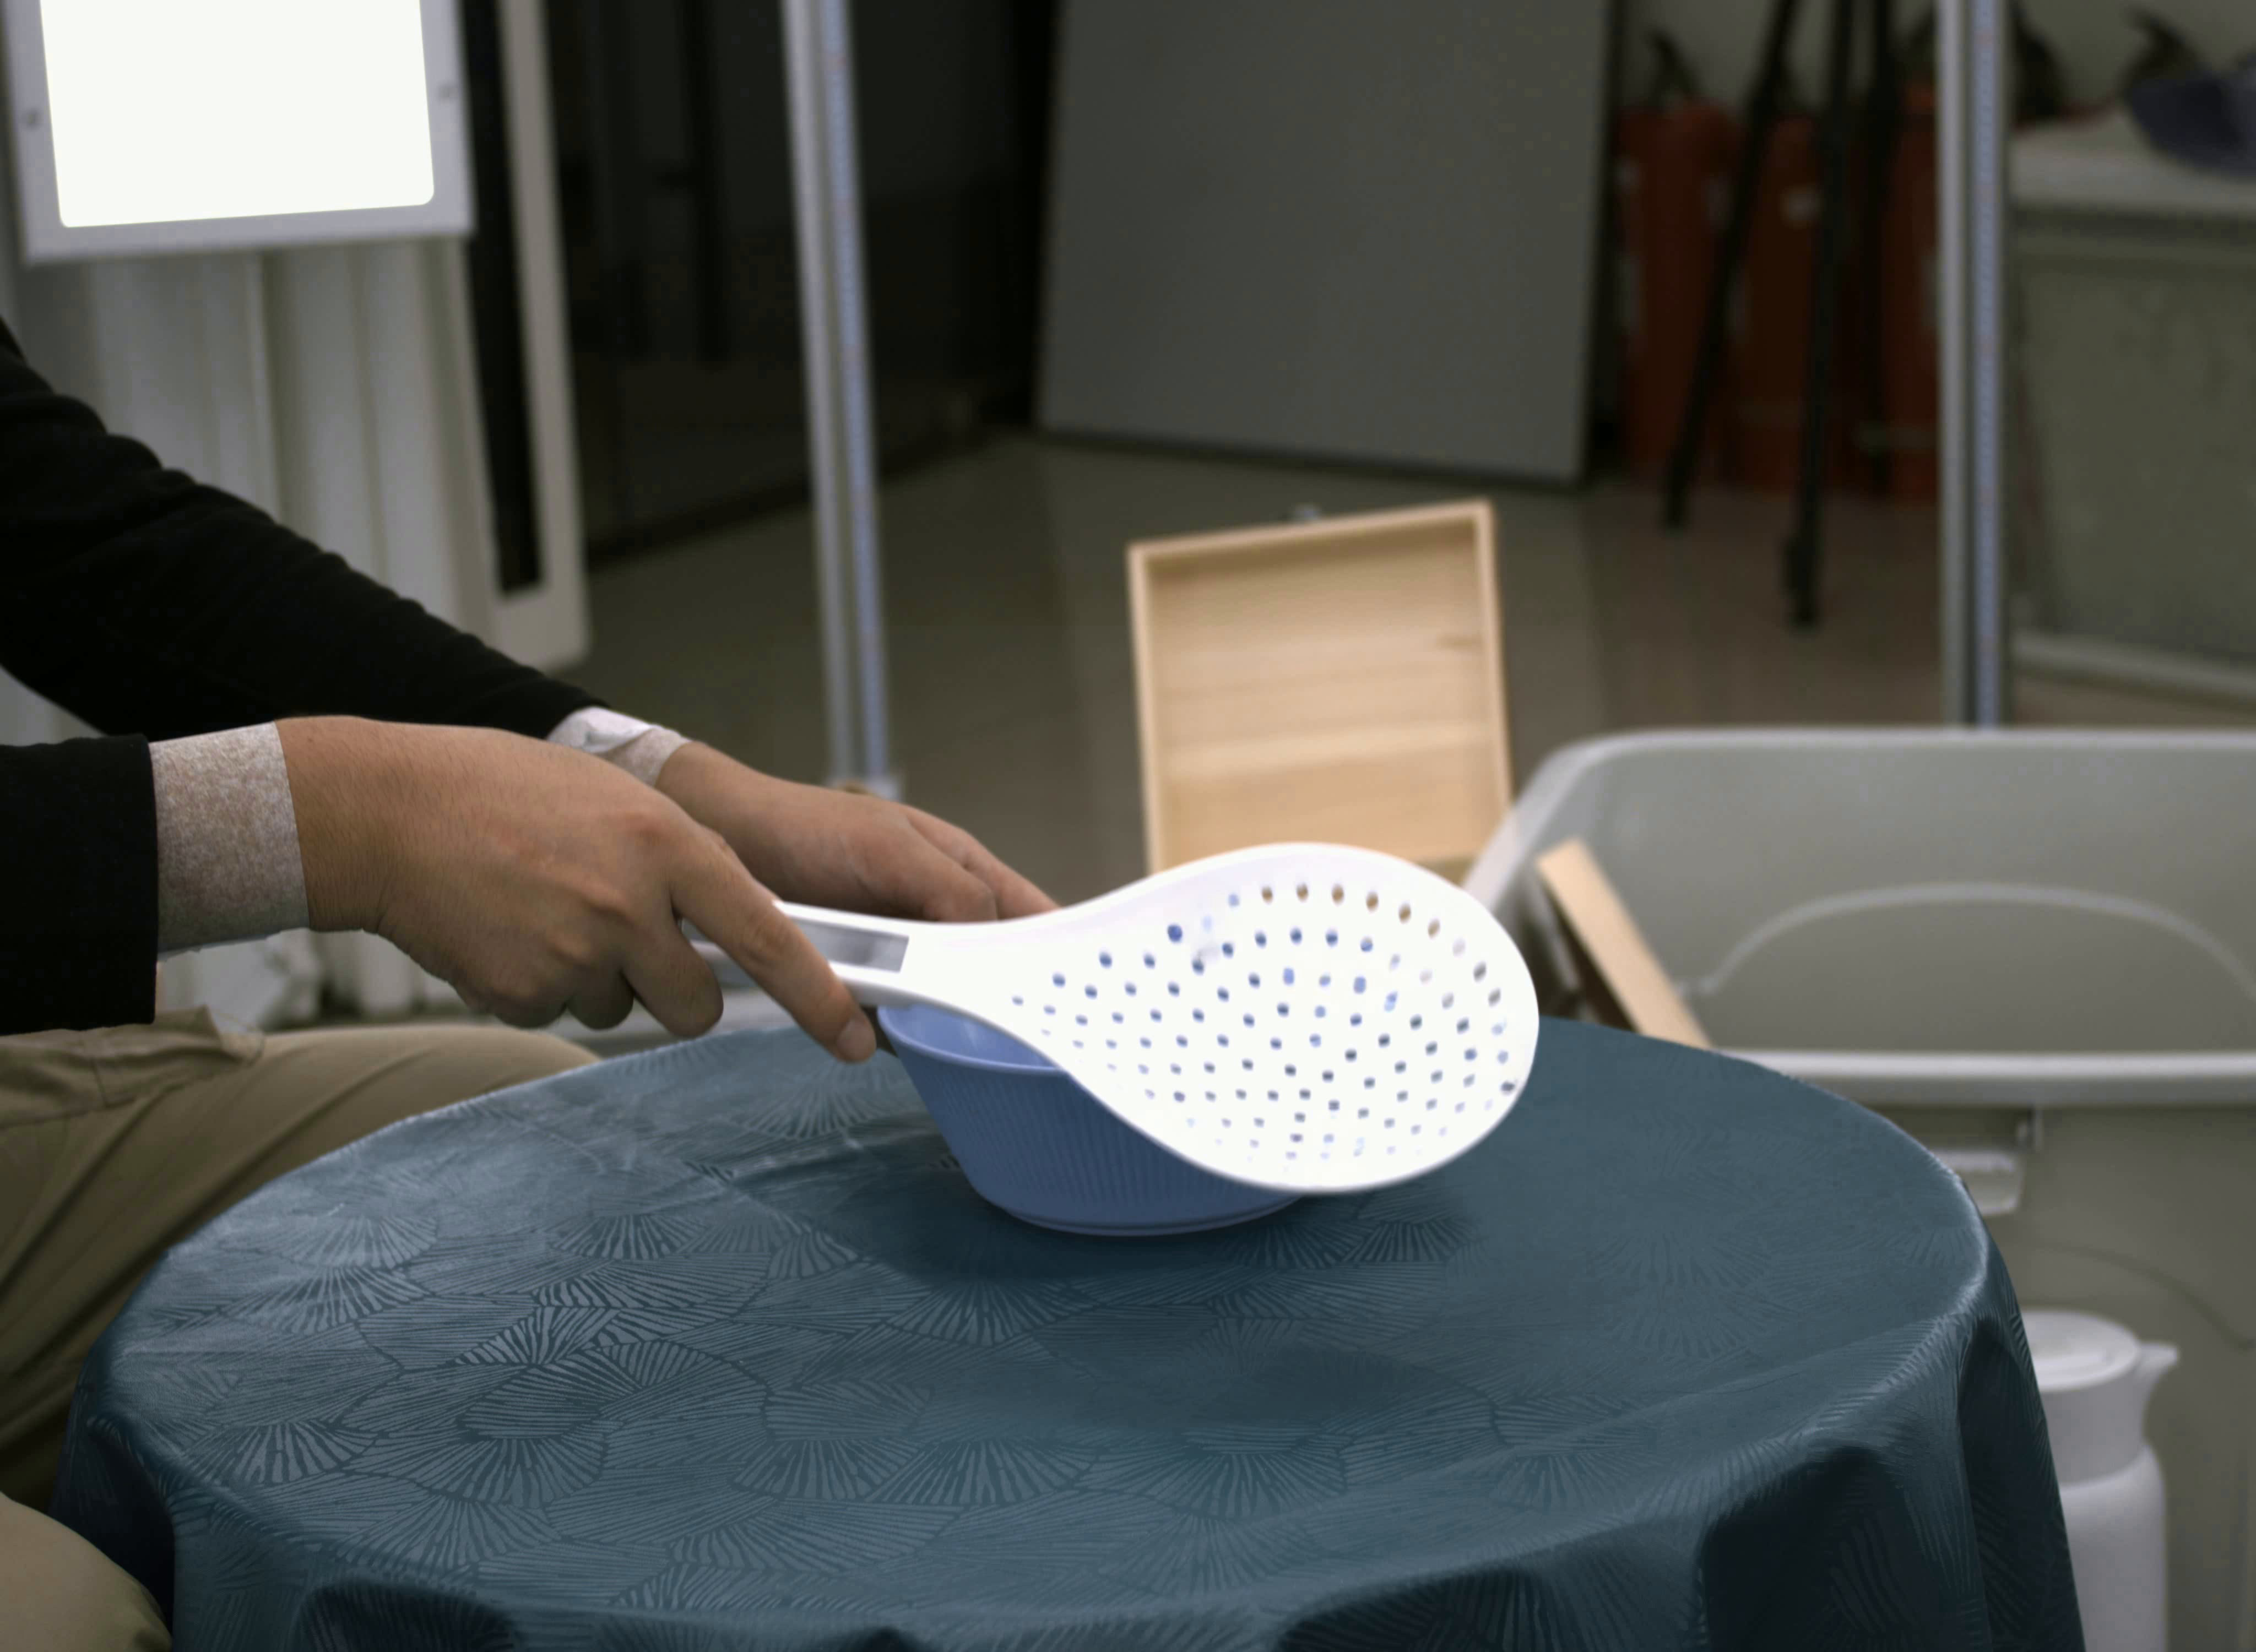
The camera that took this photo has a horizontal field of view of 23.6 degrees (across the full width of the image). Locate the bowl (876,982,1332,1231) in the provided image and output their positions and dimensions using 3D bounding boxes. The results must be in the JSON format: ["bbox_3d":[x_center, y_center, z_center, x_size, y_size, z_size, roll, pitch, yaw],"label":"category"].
[{"bbox_3d":[0.006,0.084,1.766,0.174,0.071,0.176,-5,13,0],"label":"bowl"}]

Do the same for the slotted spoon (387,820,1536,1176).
[{"bbox_3d":[-0.052,0.040,1.613,0.346,0.046,0.136,10,48,4],"label":"slotted spoon"}]
